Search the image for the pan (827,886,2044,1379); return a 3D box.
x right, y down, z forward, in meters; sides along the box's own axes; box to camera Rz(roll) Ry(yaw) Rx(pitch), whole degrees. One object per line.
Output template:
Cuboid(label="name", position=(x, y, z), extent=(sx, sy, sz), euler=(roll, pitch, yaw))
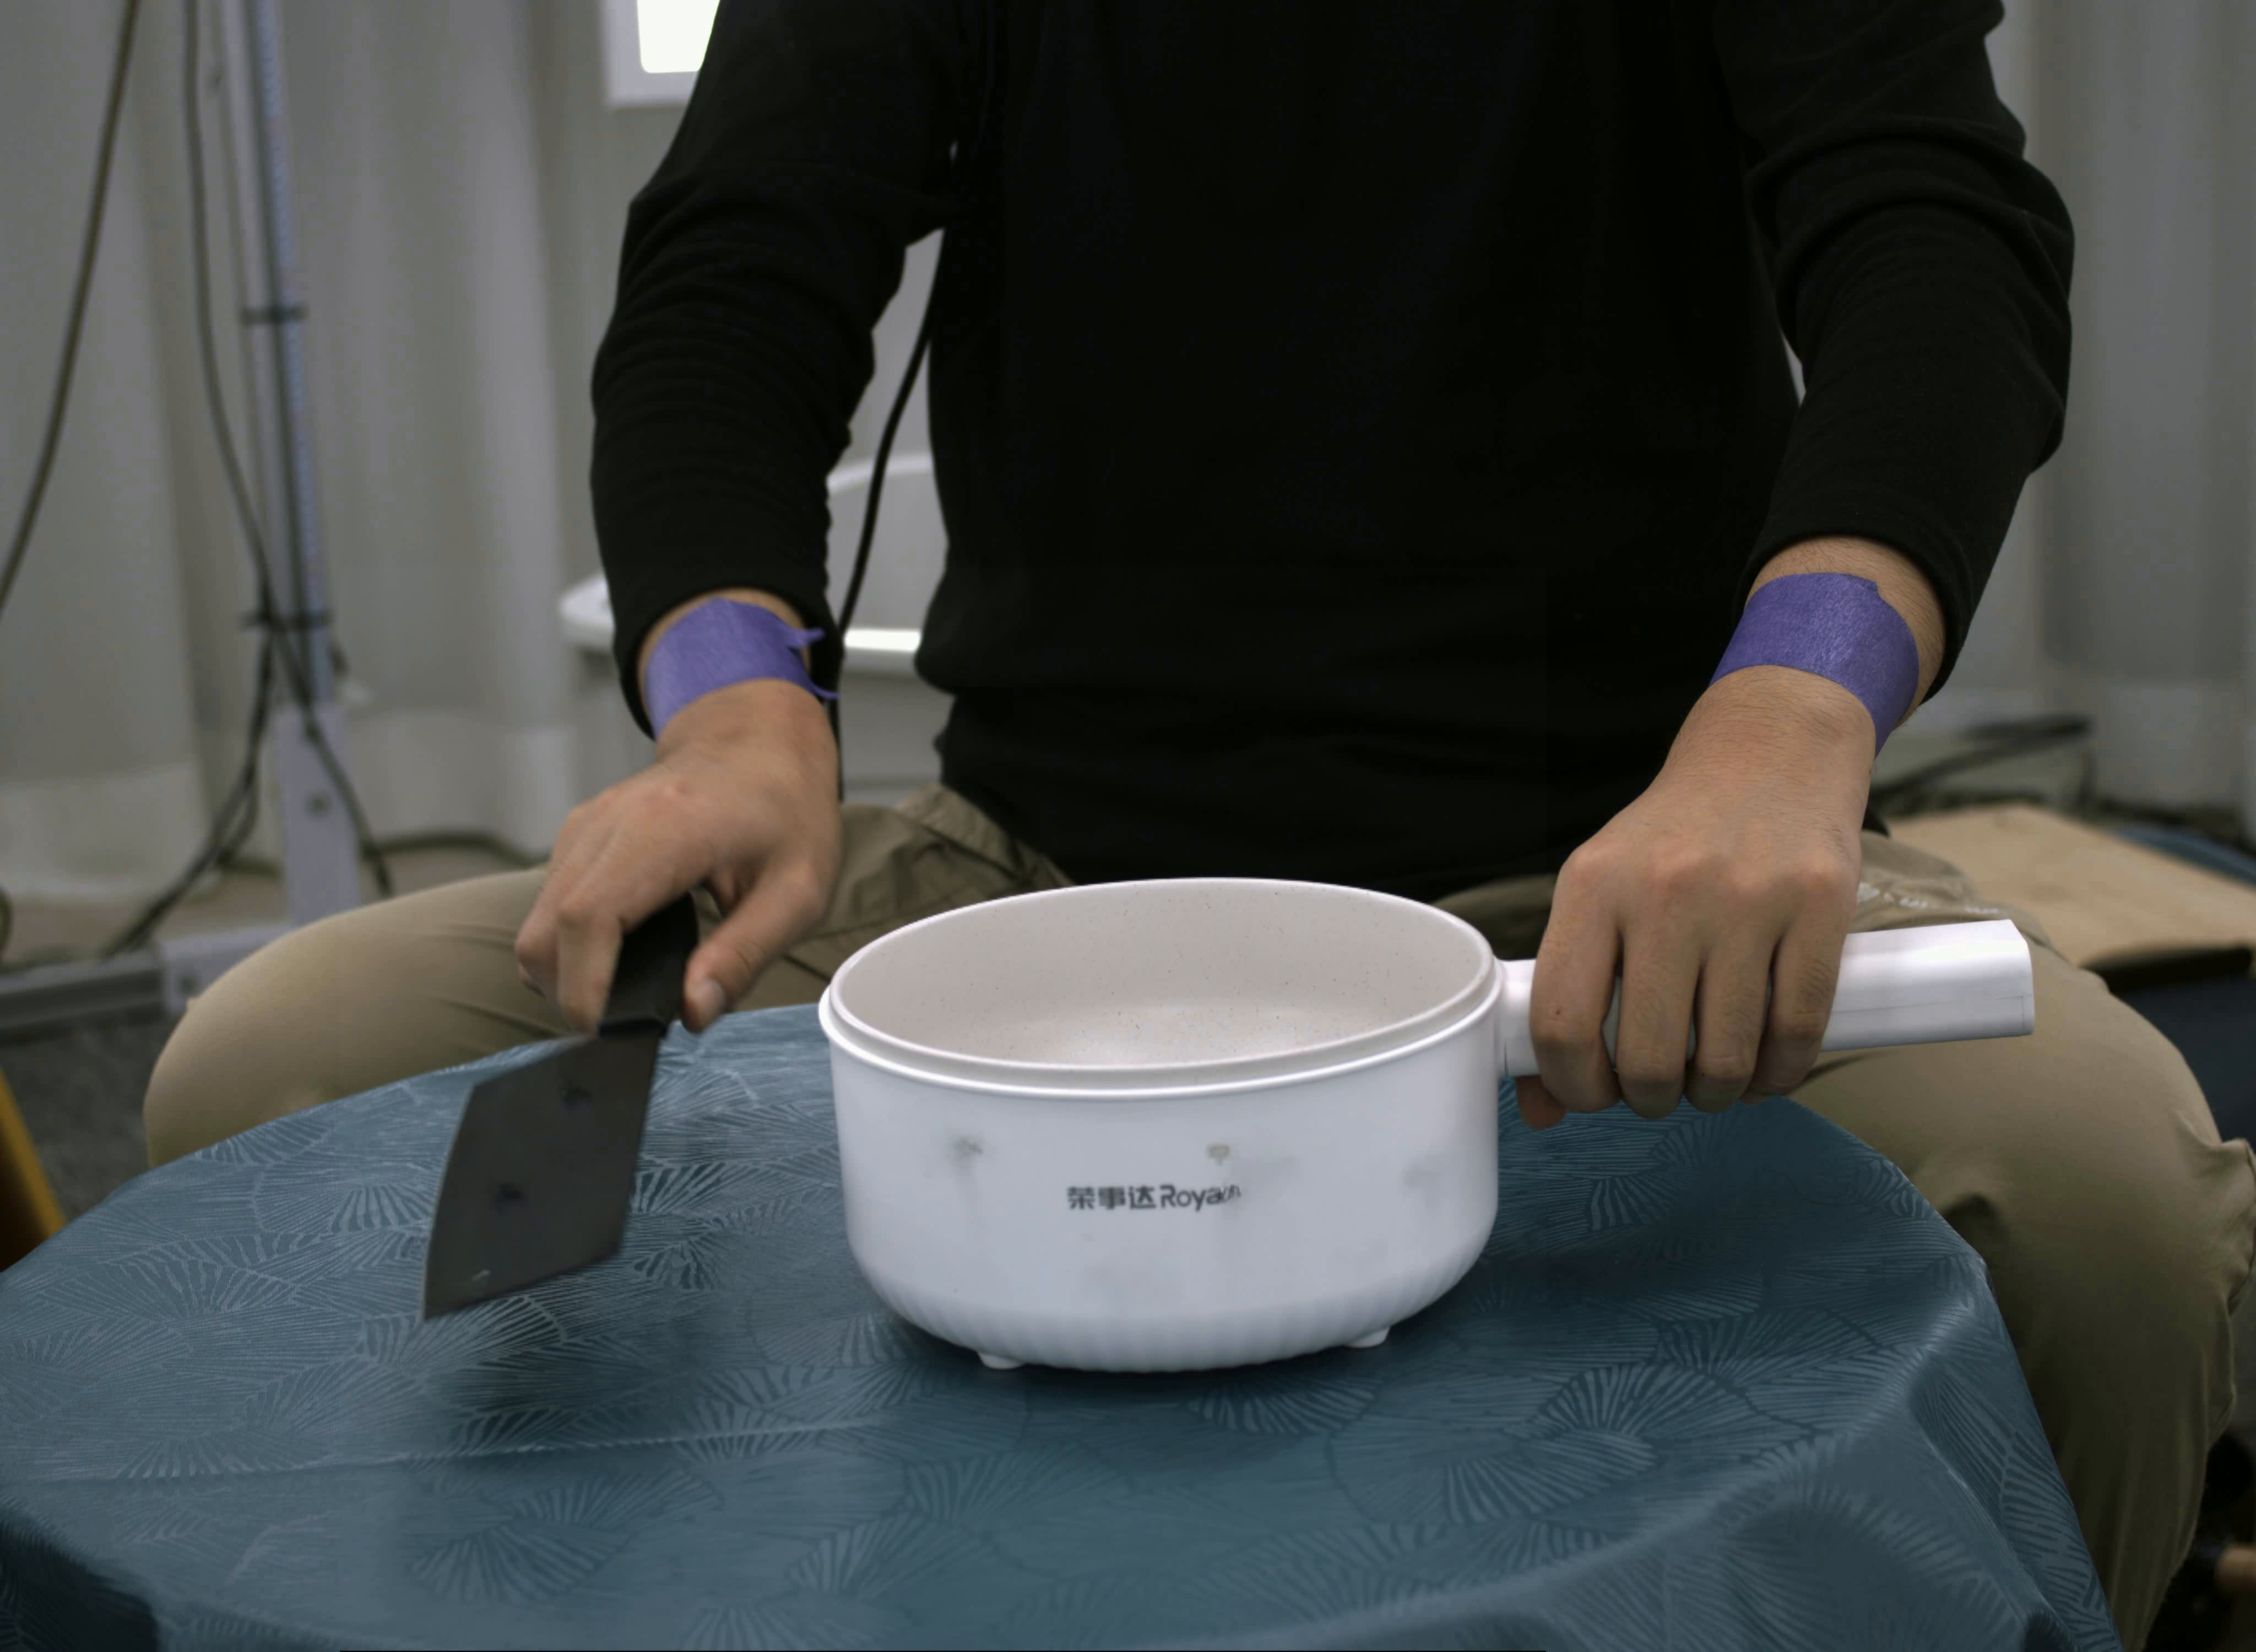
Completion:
Cuboid(label="pan", position=(0.090, 0.089, 1.610), extent=(0.353, 0.102, 0.202), euler=(-2, 14, -1))

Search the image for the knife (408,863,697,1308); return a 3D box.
Cuboid(label="knife", position=(-0.170, 0.074, 1.657), extent=(0.081, 0.021, 0.305), euler=(-18, 18, 11))
